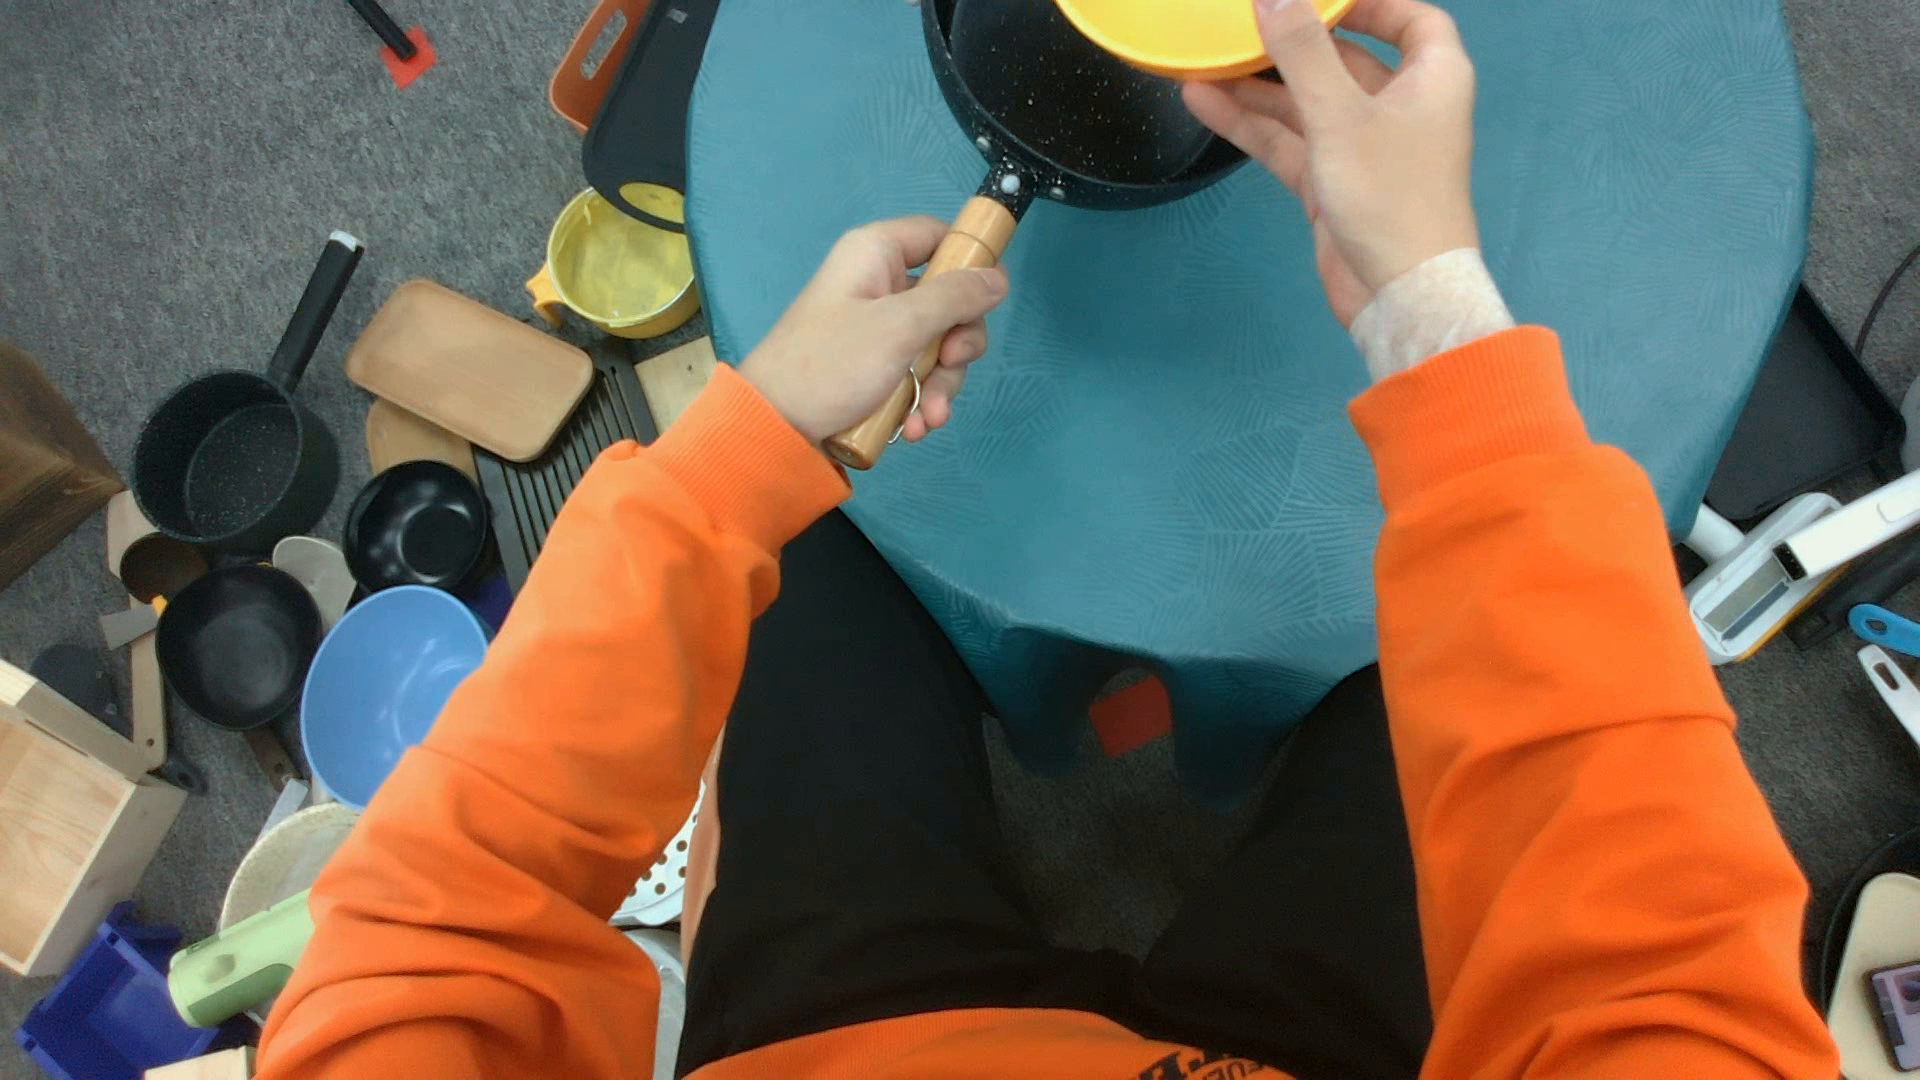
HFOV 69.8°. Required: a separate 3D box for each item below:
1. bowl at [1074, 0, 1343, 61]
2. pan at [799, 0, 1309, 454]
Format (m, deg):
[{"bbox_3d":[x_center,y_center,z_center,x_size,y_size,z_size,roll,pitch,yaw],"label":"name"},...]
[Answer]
[{"bbox_3d":[0.108,-0.255,0.566,0.145,0.060,0.145,-2,80,13],"label":"bowl"},{"bbox_3d":[0.024,-0.180,0.627,0.207,0.108,0.343,30,82,-6],"label":"pan"}]
